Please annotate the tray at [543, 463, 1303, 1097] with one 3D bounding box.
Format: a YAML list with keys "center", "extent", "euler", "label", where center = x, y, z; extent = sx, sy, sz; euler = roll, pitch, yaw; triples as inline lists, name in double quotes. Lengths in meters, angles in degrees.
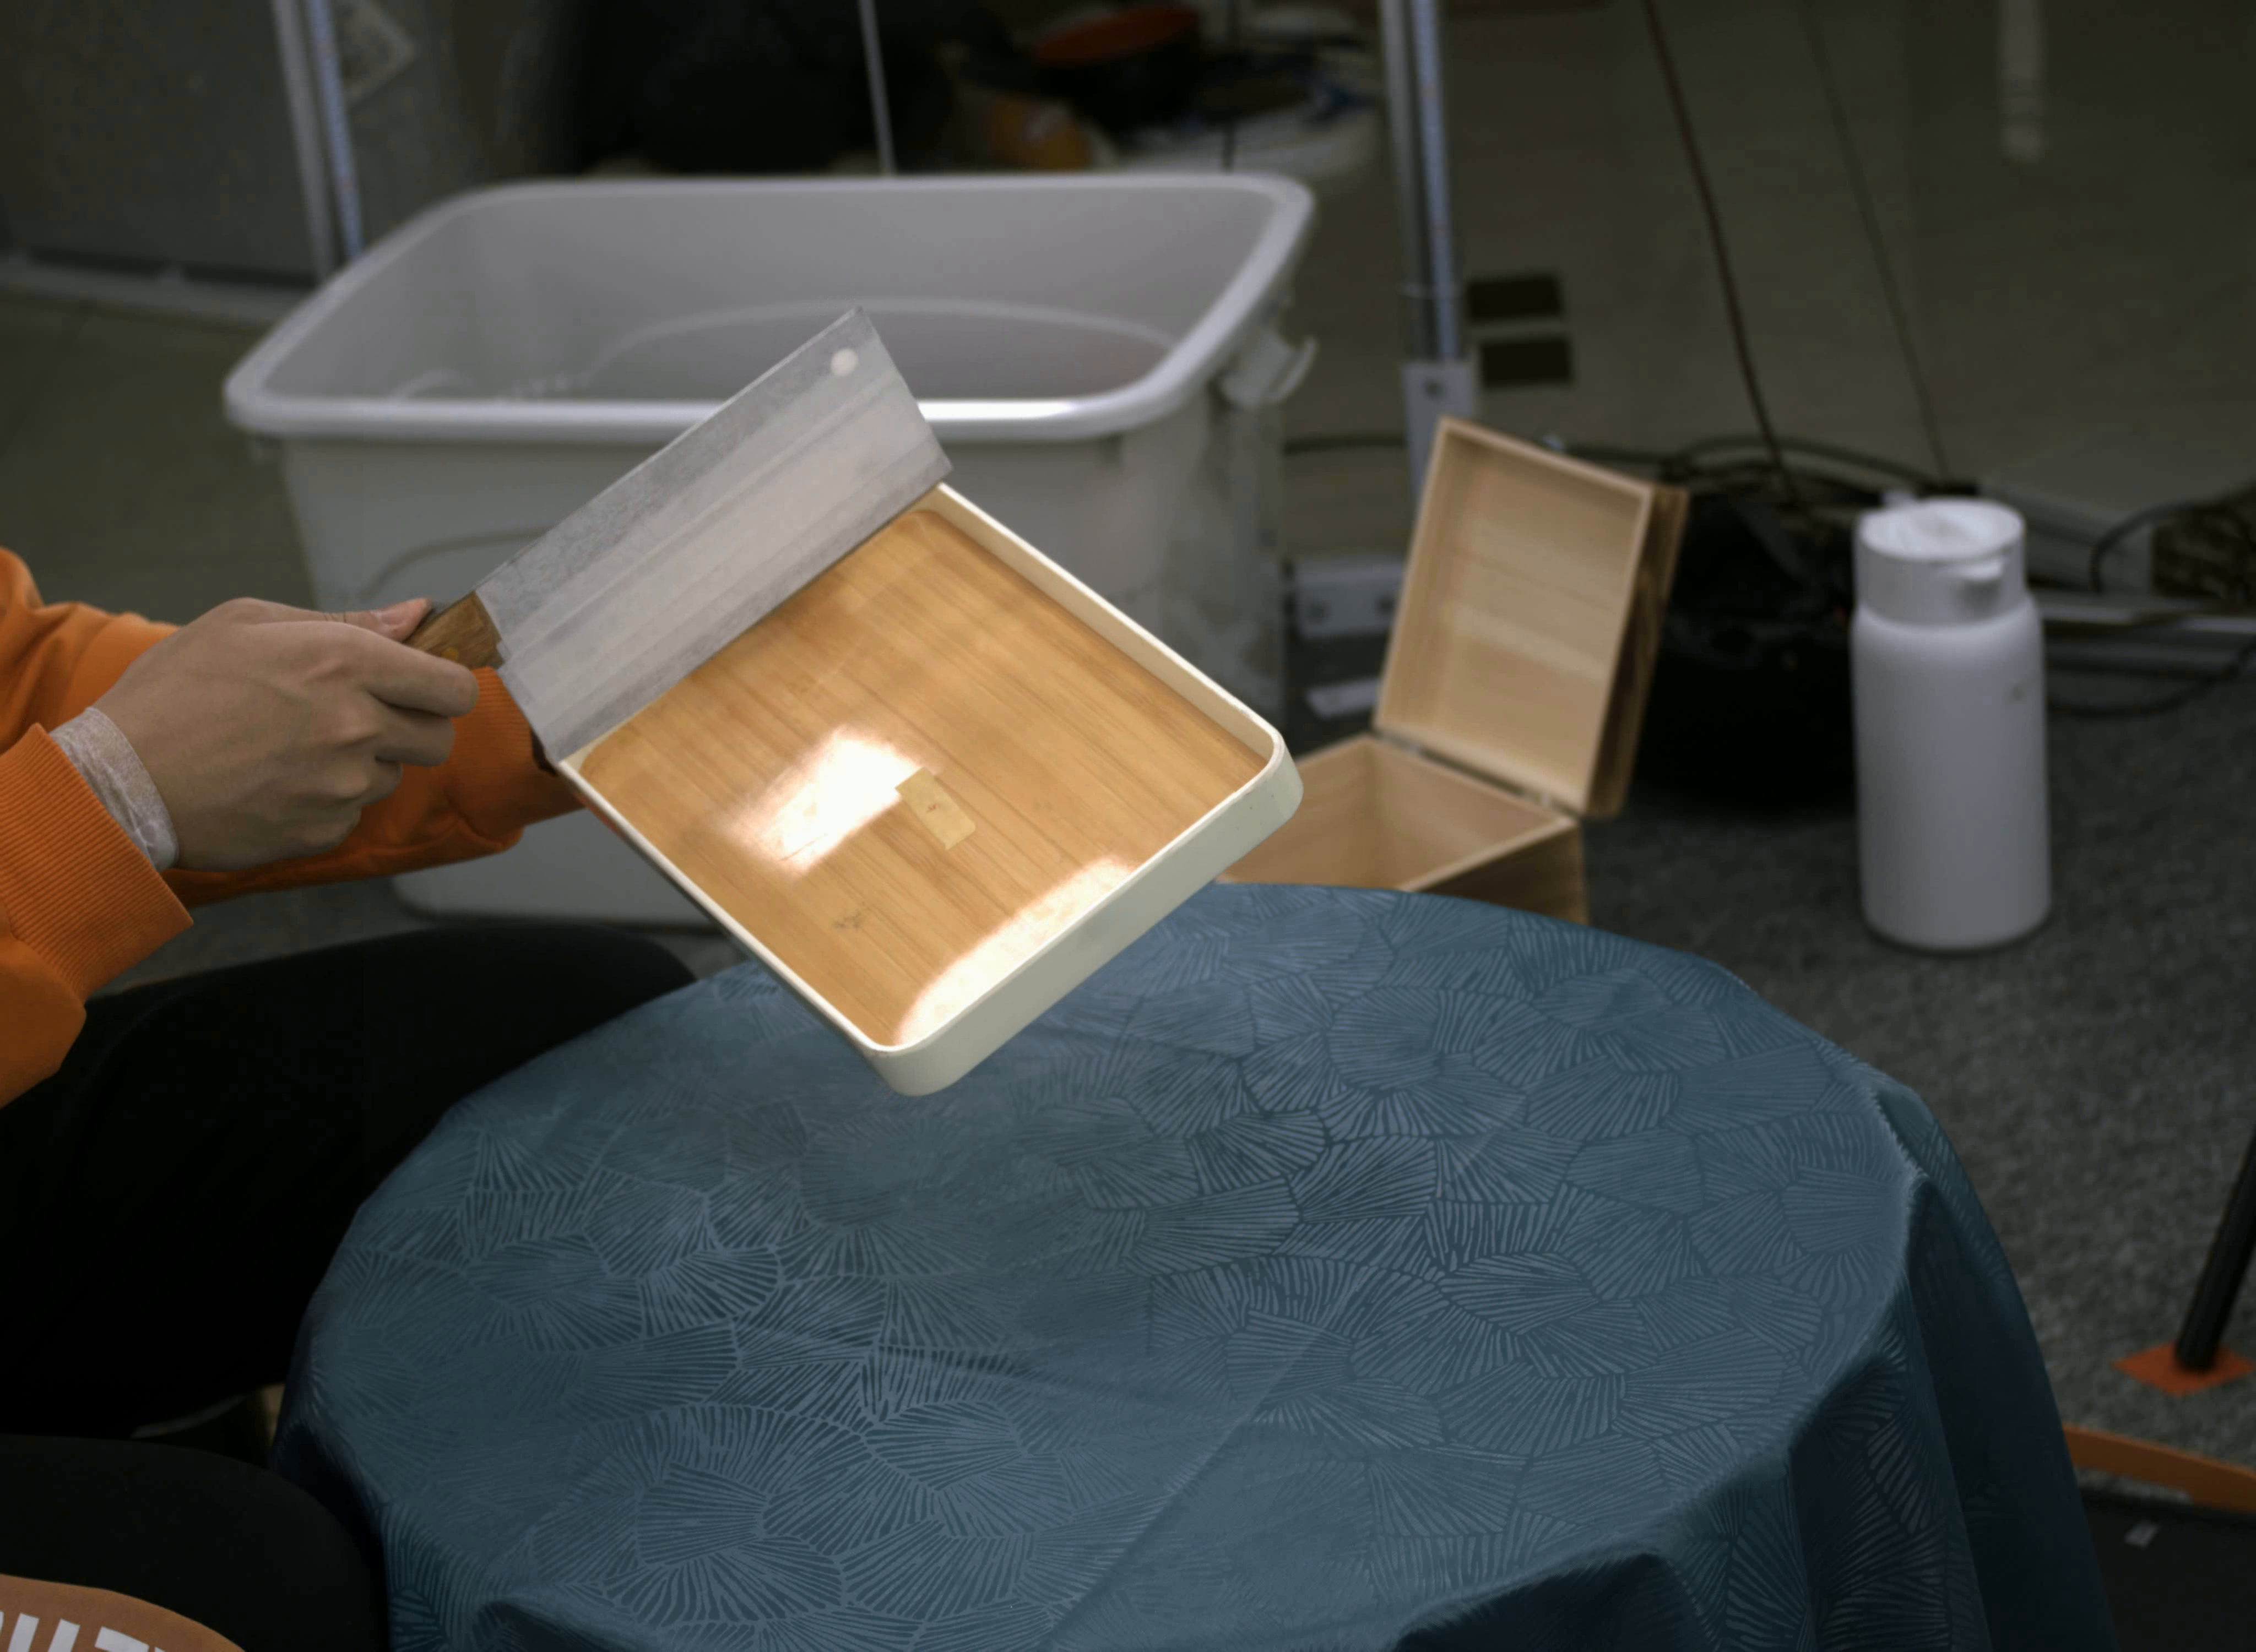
- center: [-0.082, -0.023, 2.123]
  extent: [0.191, 0.028, 0.296]
  euler: [-38, 40, -10]
  label: "tray"

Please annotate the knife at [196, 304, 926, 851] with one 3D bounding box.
- center: [-0.204, -0.077, 2.096]
  extent: [0.305, 0.094, 0.020]
  euler: [-37, 43, -7]
  label: "knife"
